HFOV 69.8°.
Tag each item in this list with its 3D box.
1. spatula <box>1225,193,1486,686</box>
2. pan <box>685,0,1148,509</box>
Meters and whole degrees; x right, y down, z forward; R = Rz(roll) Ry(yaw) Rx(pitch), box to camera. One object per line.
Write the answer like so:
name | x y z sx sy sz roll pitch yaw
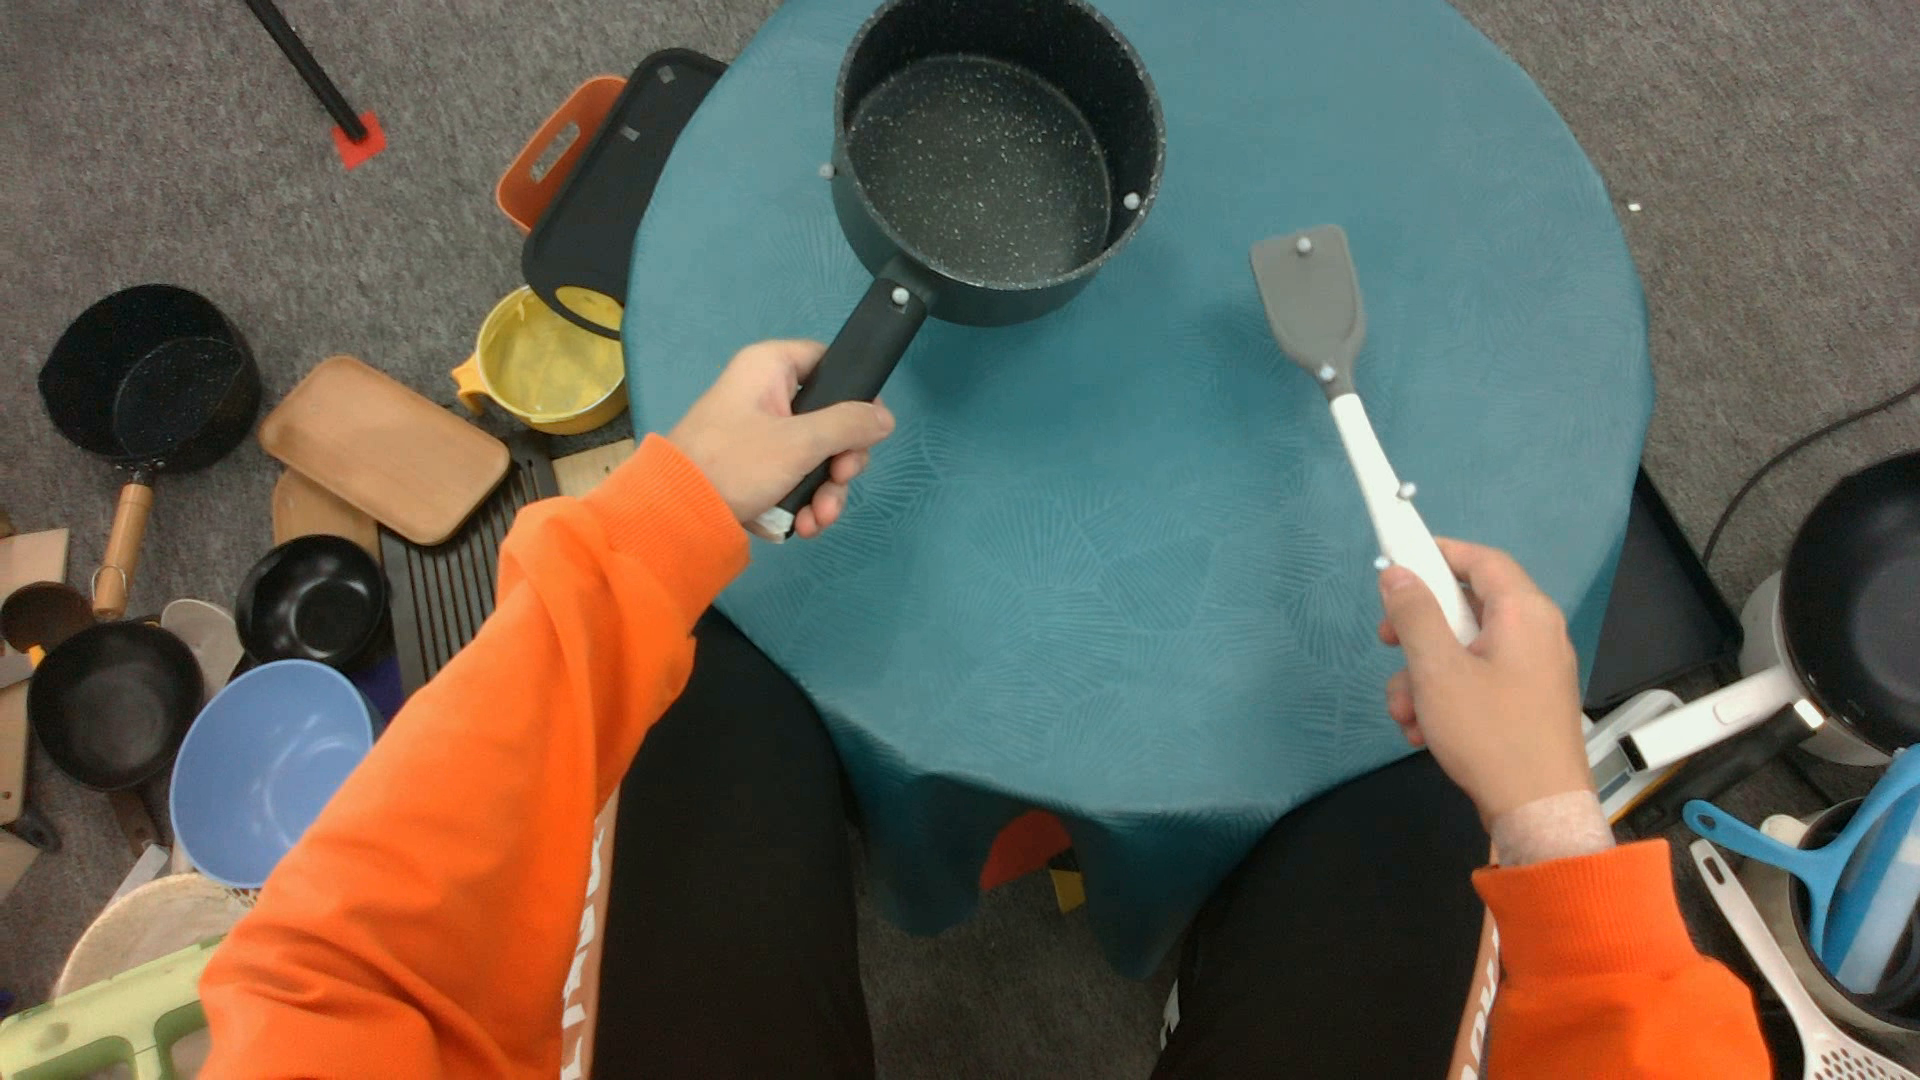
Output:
spatula | 0.196 -0.062 0.691 0.058 0.032 0.288 -16 58 9
pan | -0.033 -0.146 0.705 0.172 0.086 0.330 33 73 -3
